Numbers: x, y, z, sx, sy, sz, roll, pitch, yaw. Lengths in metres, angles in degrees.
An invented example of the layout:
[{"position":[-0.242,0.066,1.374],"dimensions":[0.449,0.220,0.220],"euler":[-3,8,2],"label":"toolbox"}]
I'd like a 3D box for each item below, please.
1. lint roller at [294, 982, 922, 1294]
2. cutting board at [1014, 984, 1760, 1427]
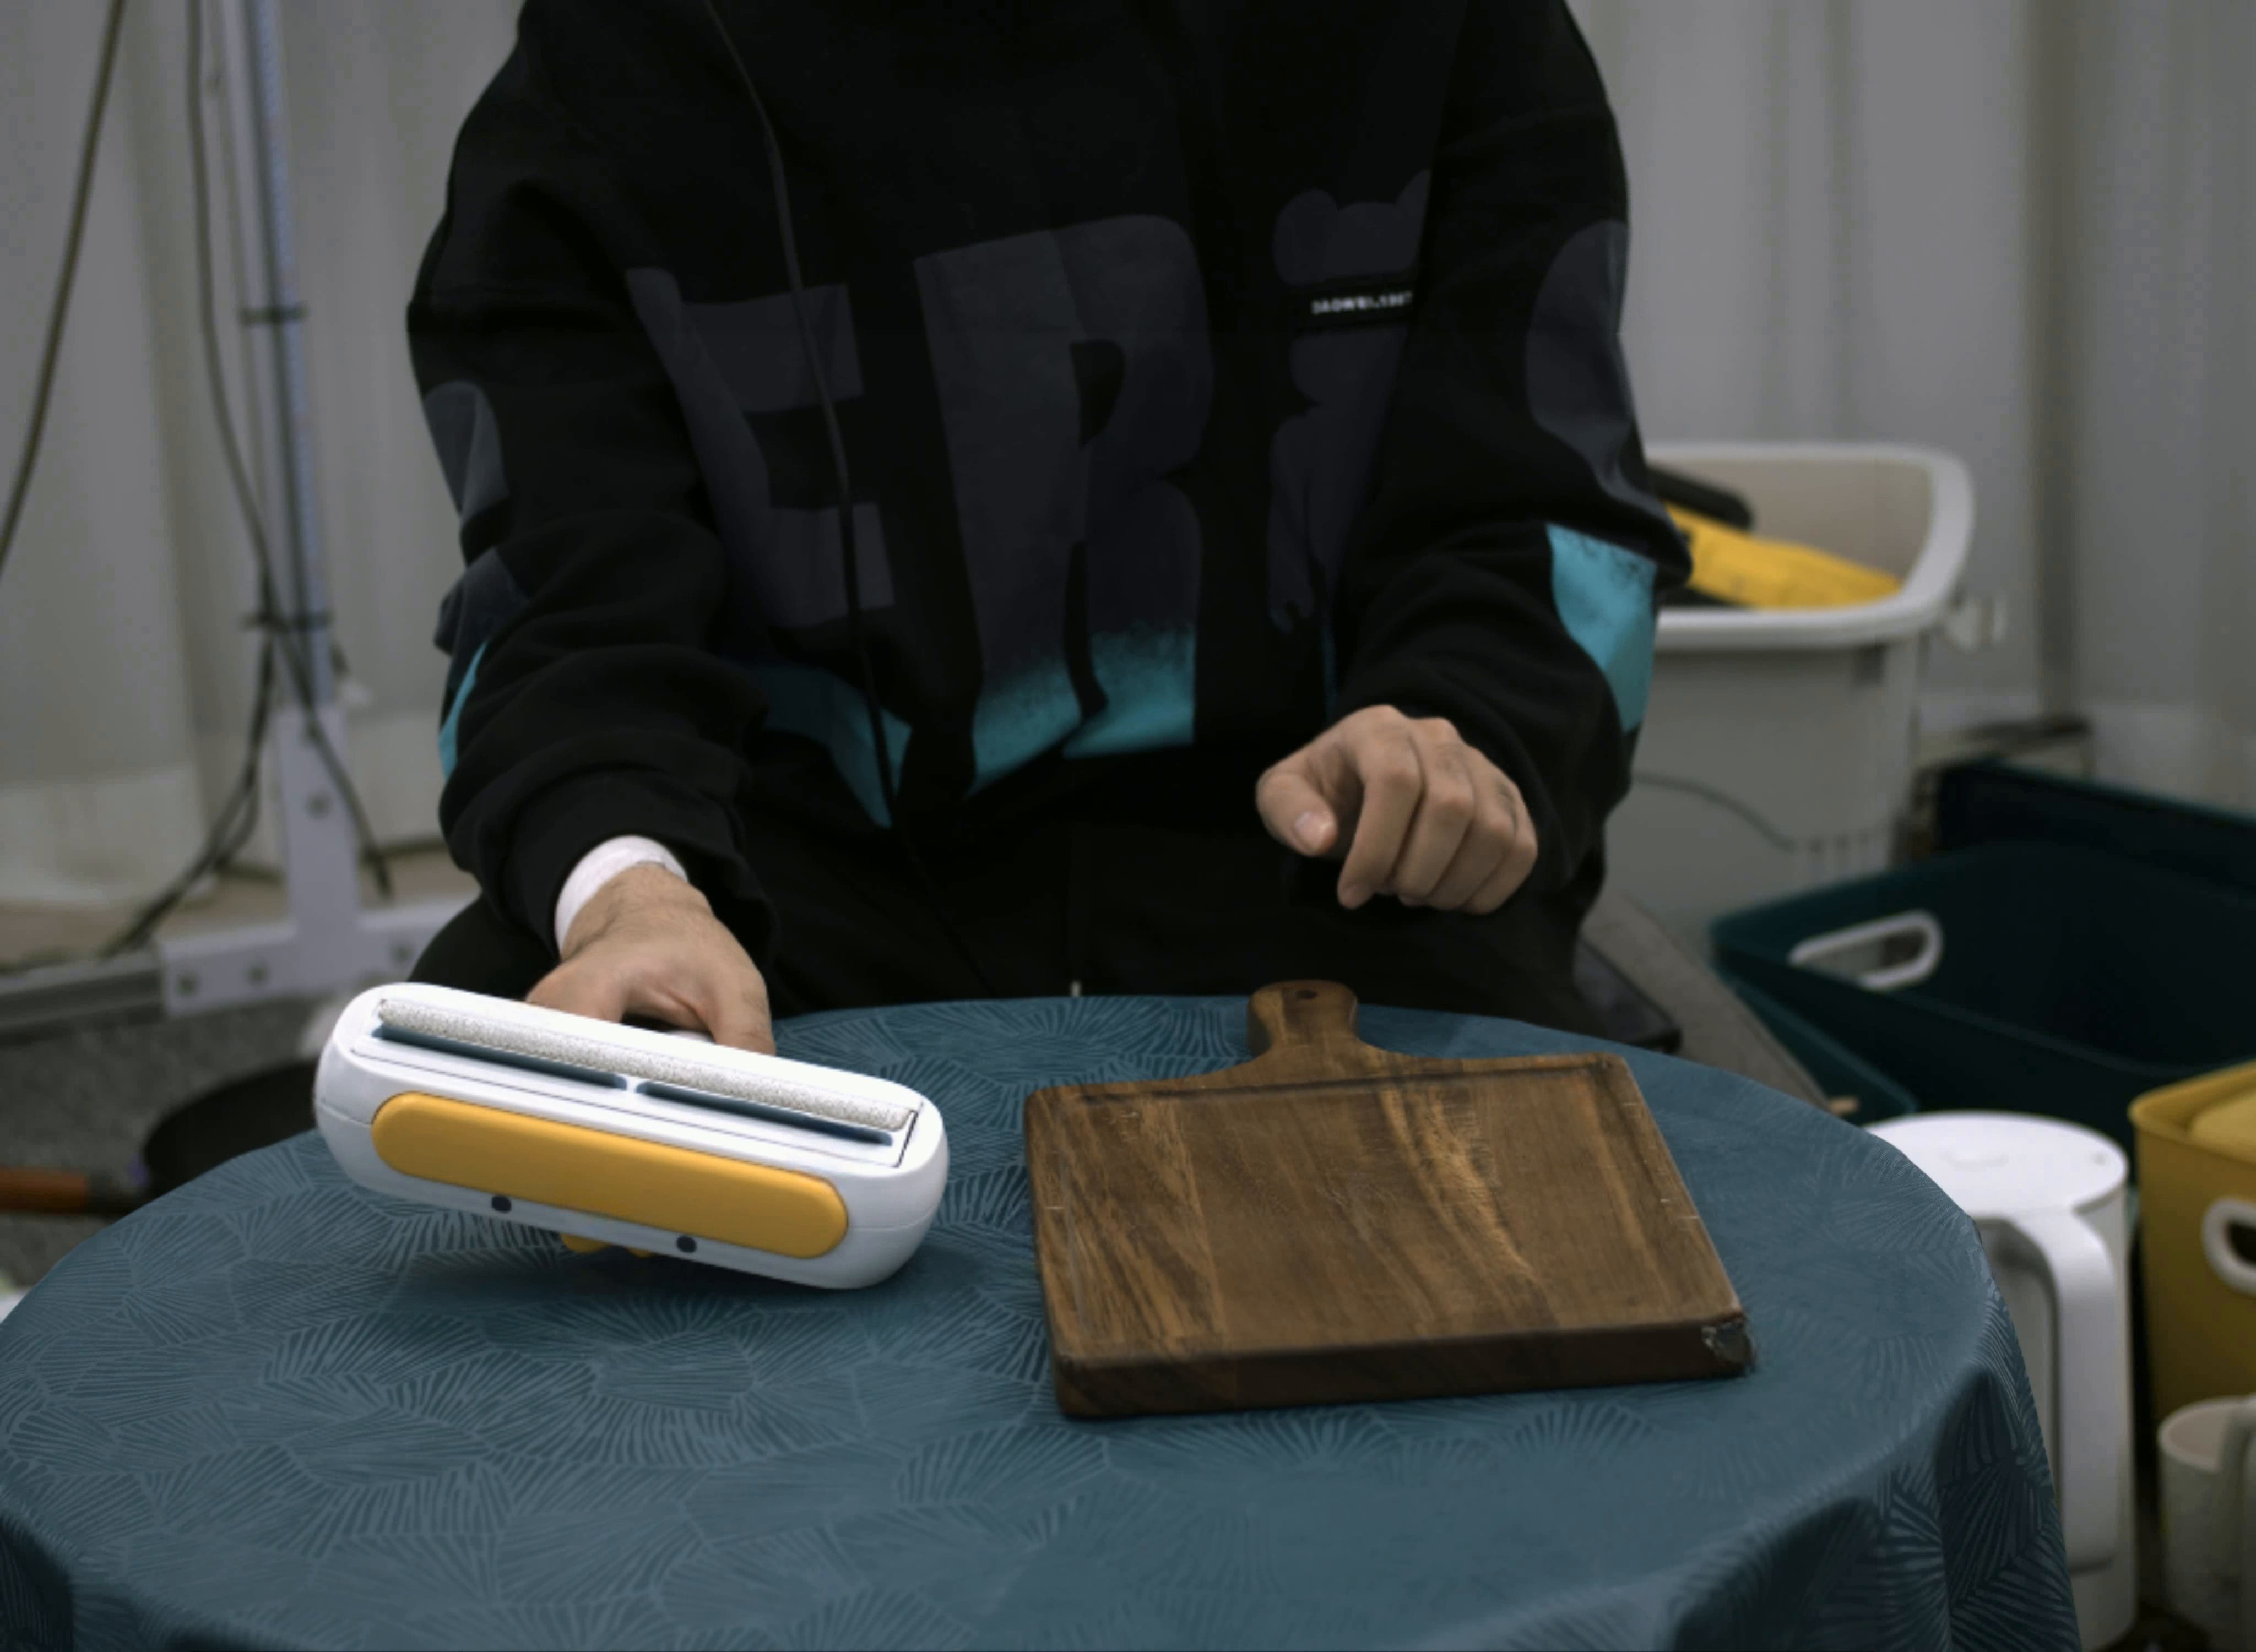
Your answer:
[{"position":[-0.147,0.085,1.713],"dimensions":[0.192,0.074,0.193],"euler":[8,17,10],"label":"lint roller"},{"position":[0.067,0.108,1.689],"dimensions":[0.200,0.023,0.354],"euler":[-4,15,-3],"label":"cutting board"}]
